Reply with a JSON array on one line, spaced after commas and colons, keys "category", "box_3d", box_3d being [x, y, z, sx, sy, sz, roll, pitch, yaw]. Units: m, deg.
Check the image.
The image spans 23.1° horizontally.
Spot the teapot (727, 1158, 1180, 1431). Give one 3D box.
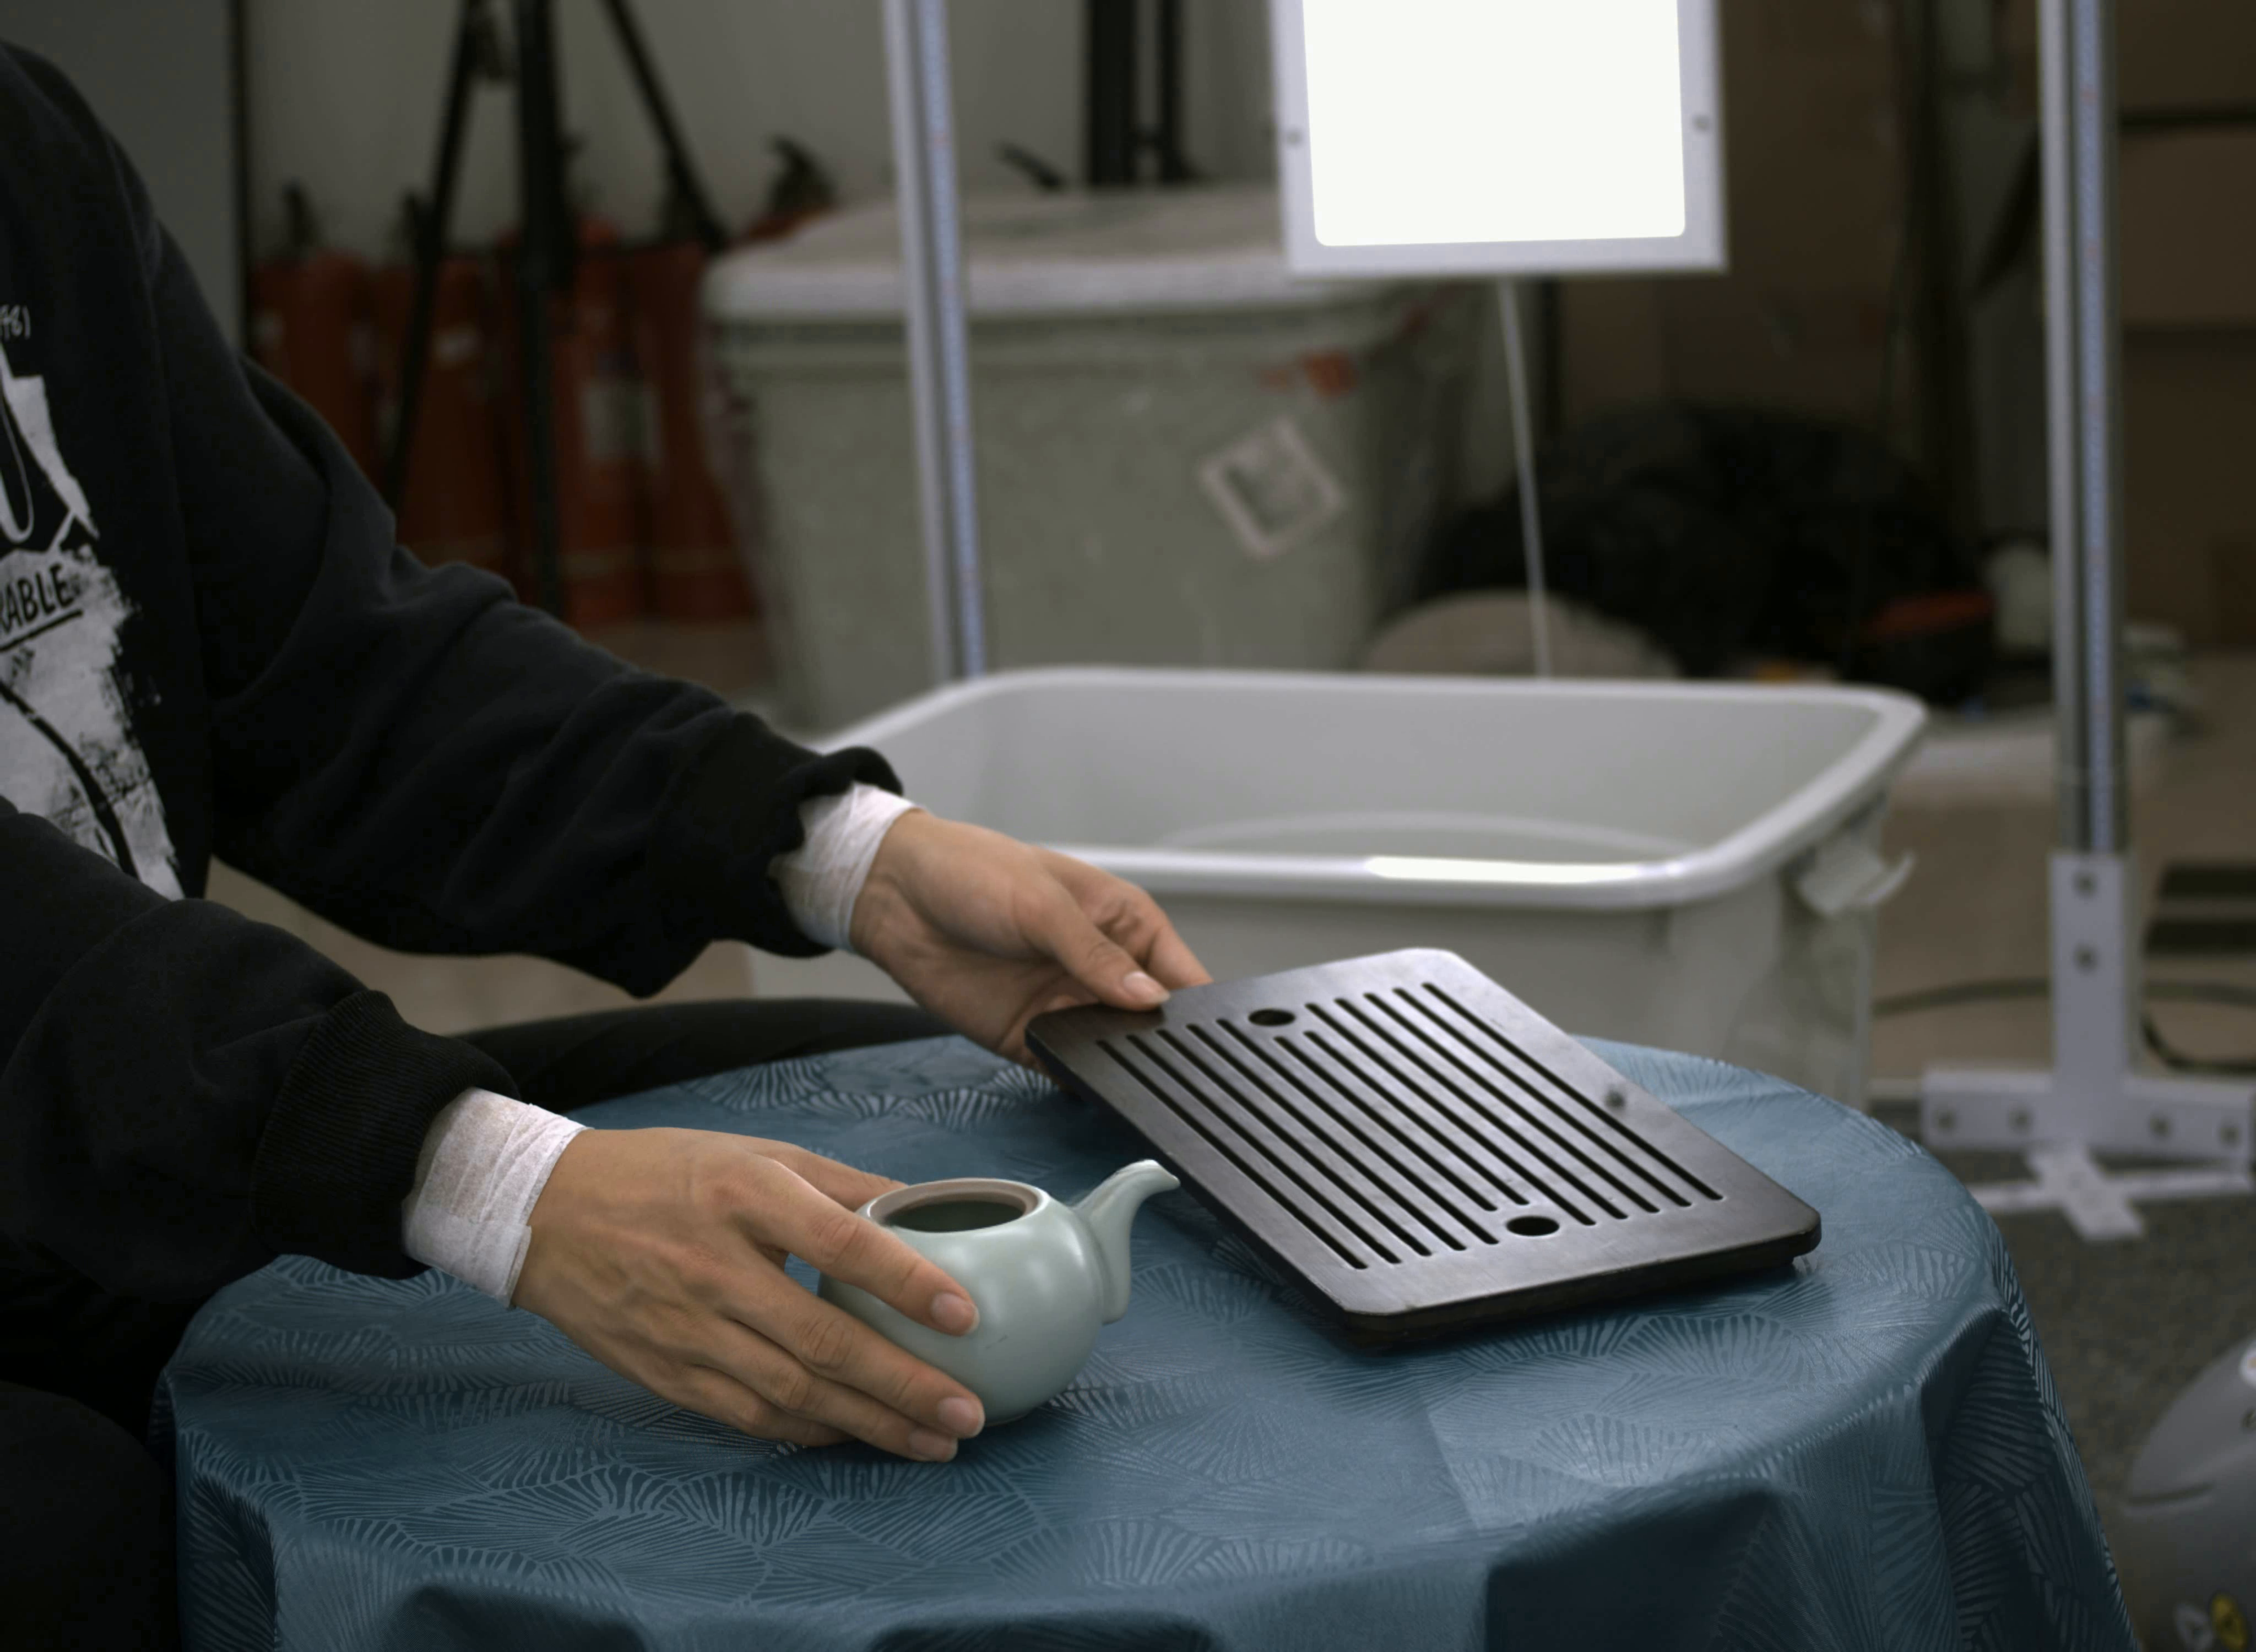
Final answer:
[{"category": "teapot", "box_3d": [-0.052, 0.144, 1.692, 0.142, 0.075, 0.089, -5, 14, -11]}]

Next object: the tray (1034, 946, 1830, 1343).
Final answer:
[{"category": "tray", "box_3d": [0.097, 0.104, 1.866, 0.167, 0.019, 0.310, -10, 19, -19]}]
